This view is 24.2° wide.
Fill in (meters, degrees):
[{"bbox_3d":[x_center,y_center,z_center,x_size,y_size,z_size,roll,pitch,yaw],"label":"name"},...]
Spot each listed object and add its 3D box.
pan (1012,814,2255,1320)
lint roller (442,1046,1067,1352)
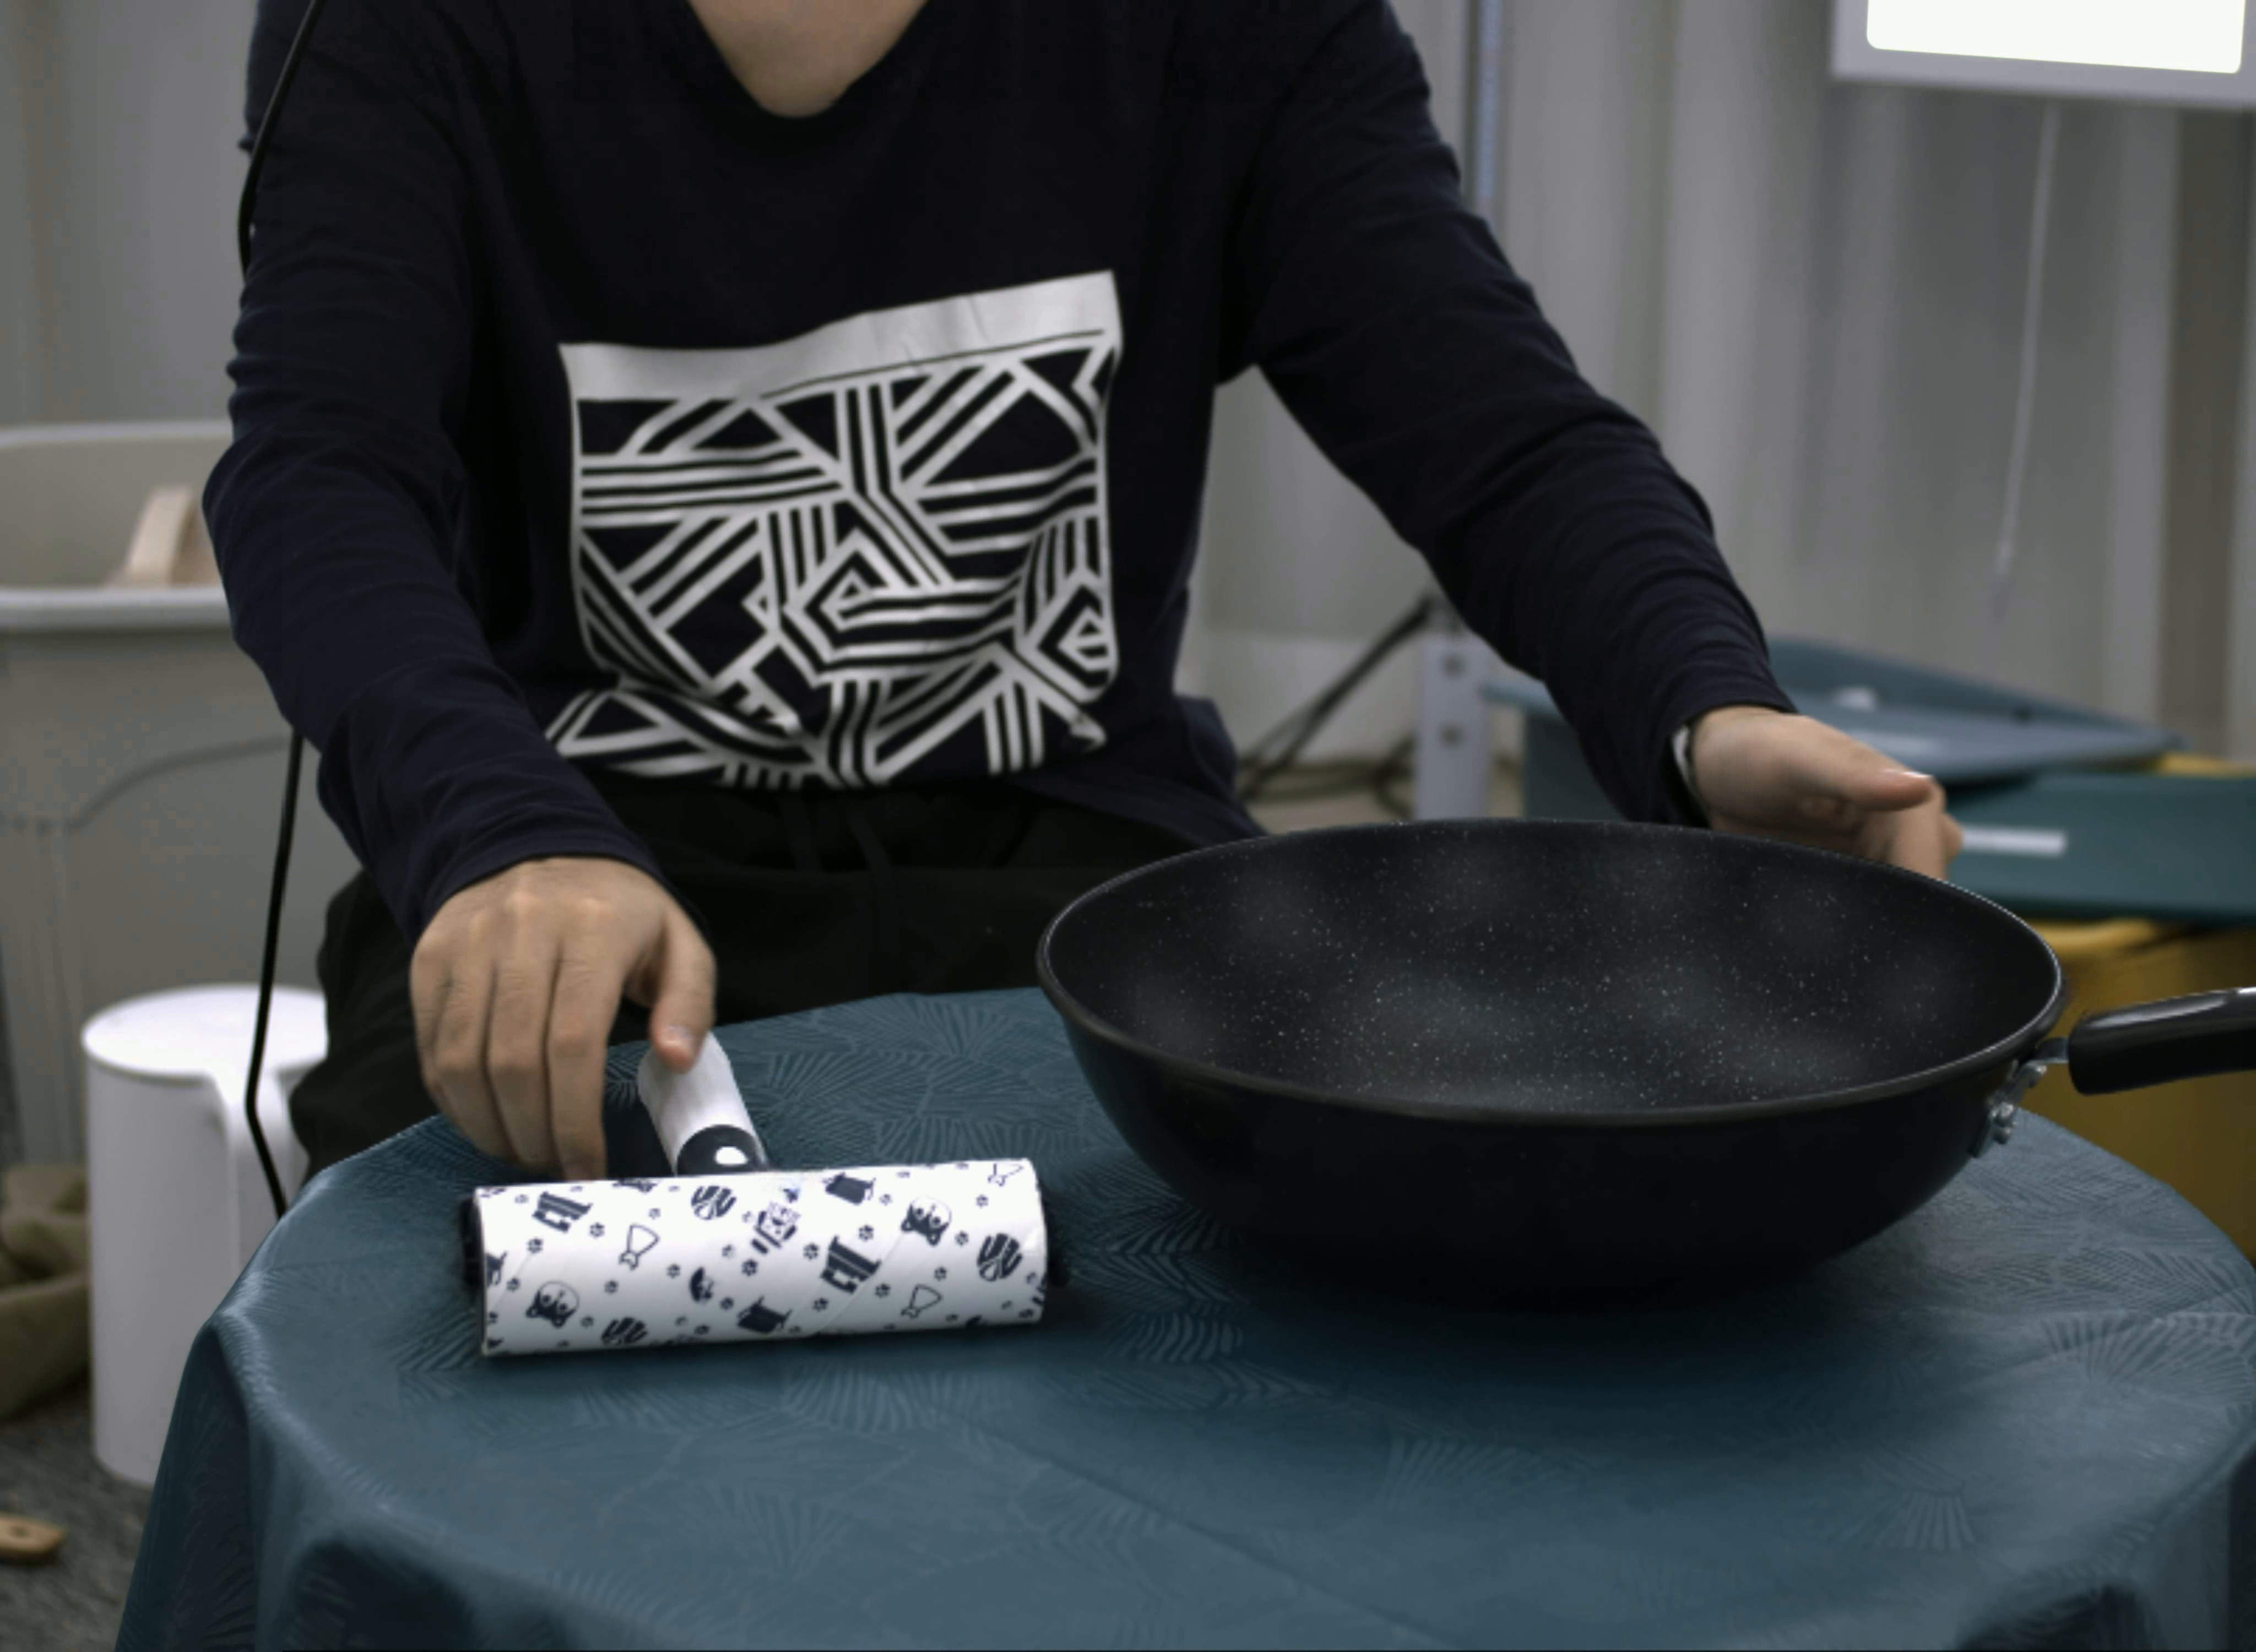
[{"bbox_3d":[0.197,0.075,1.563,0.472,0.112,0.310,6,18,20],"label":"pan"},{"bbox_3d":[-0.126,0.099,1.591,0.176,0.051,0.245,-4,13,-11],"label":"lint roller"}]
